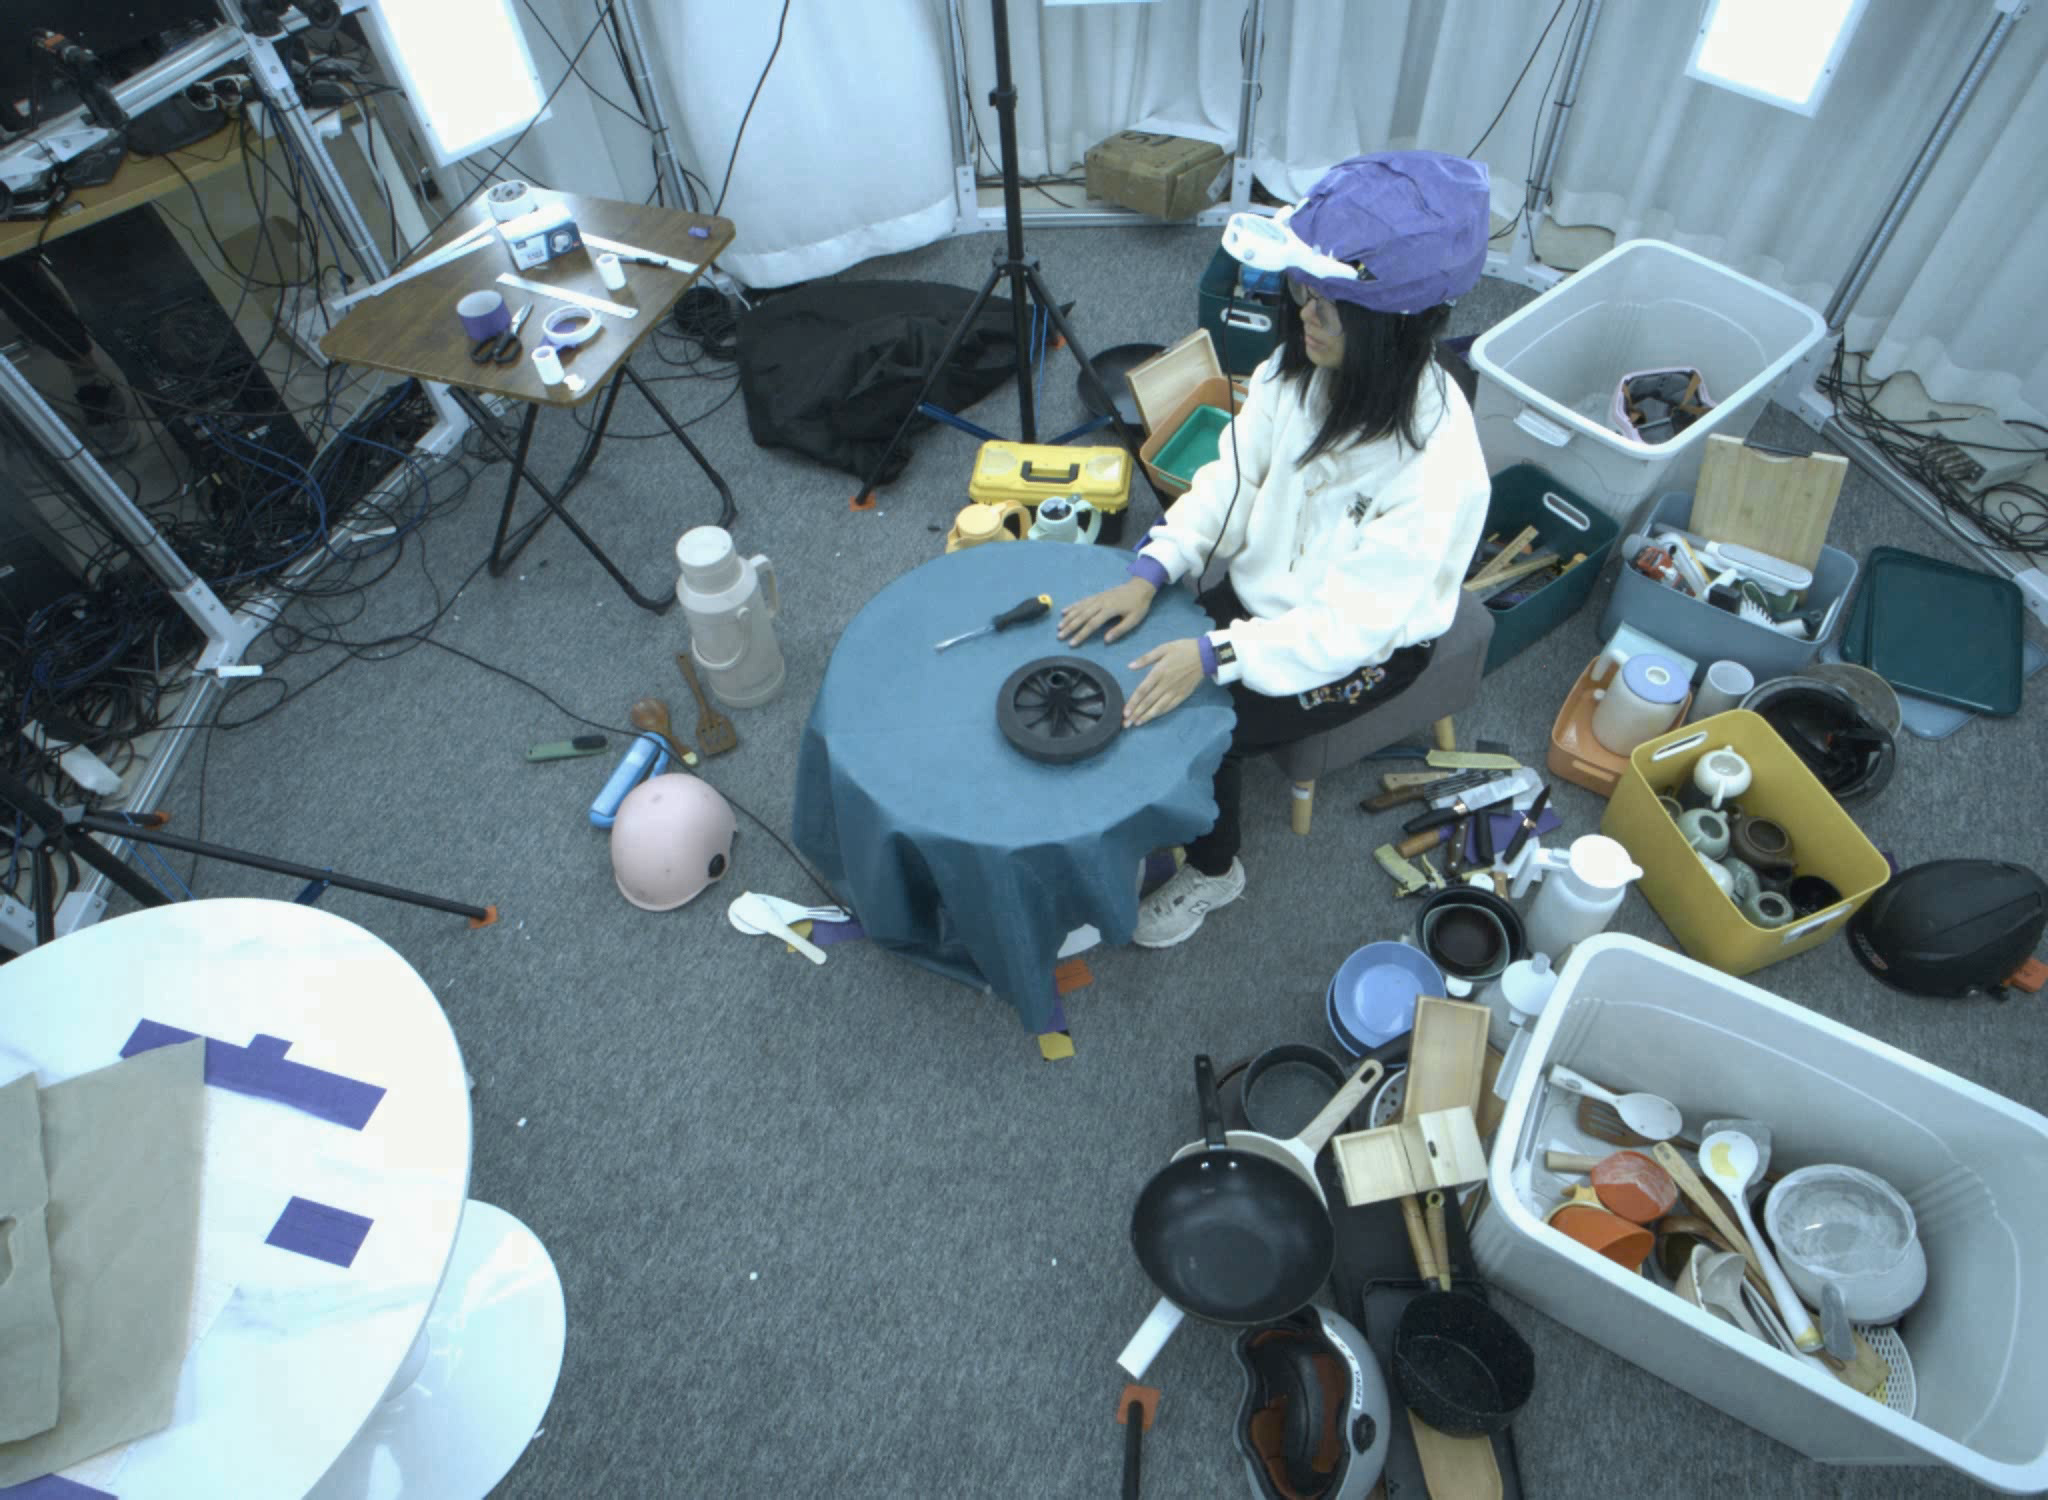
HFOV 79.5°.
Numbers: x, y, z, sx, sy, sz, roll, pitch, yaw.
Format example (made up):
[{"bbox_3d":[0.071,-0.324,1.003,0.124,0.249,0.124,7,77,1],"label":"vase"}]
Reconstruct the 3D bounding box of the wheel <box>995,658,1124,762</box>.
[{"bbox_3d":[0.050,-0.074,1.793,0.186,0.080,0.188,30,61,24],"label":"wheel"}]

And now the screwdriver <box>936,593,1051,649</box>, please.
[{"bbox_3d":[-0.049,-0.201,1.917,0.199,0.032,0.031,-22,57,-10],"label":"screwdriver"}]
